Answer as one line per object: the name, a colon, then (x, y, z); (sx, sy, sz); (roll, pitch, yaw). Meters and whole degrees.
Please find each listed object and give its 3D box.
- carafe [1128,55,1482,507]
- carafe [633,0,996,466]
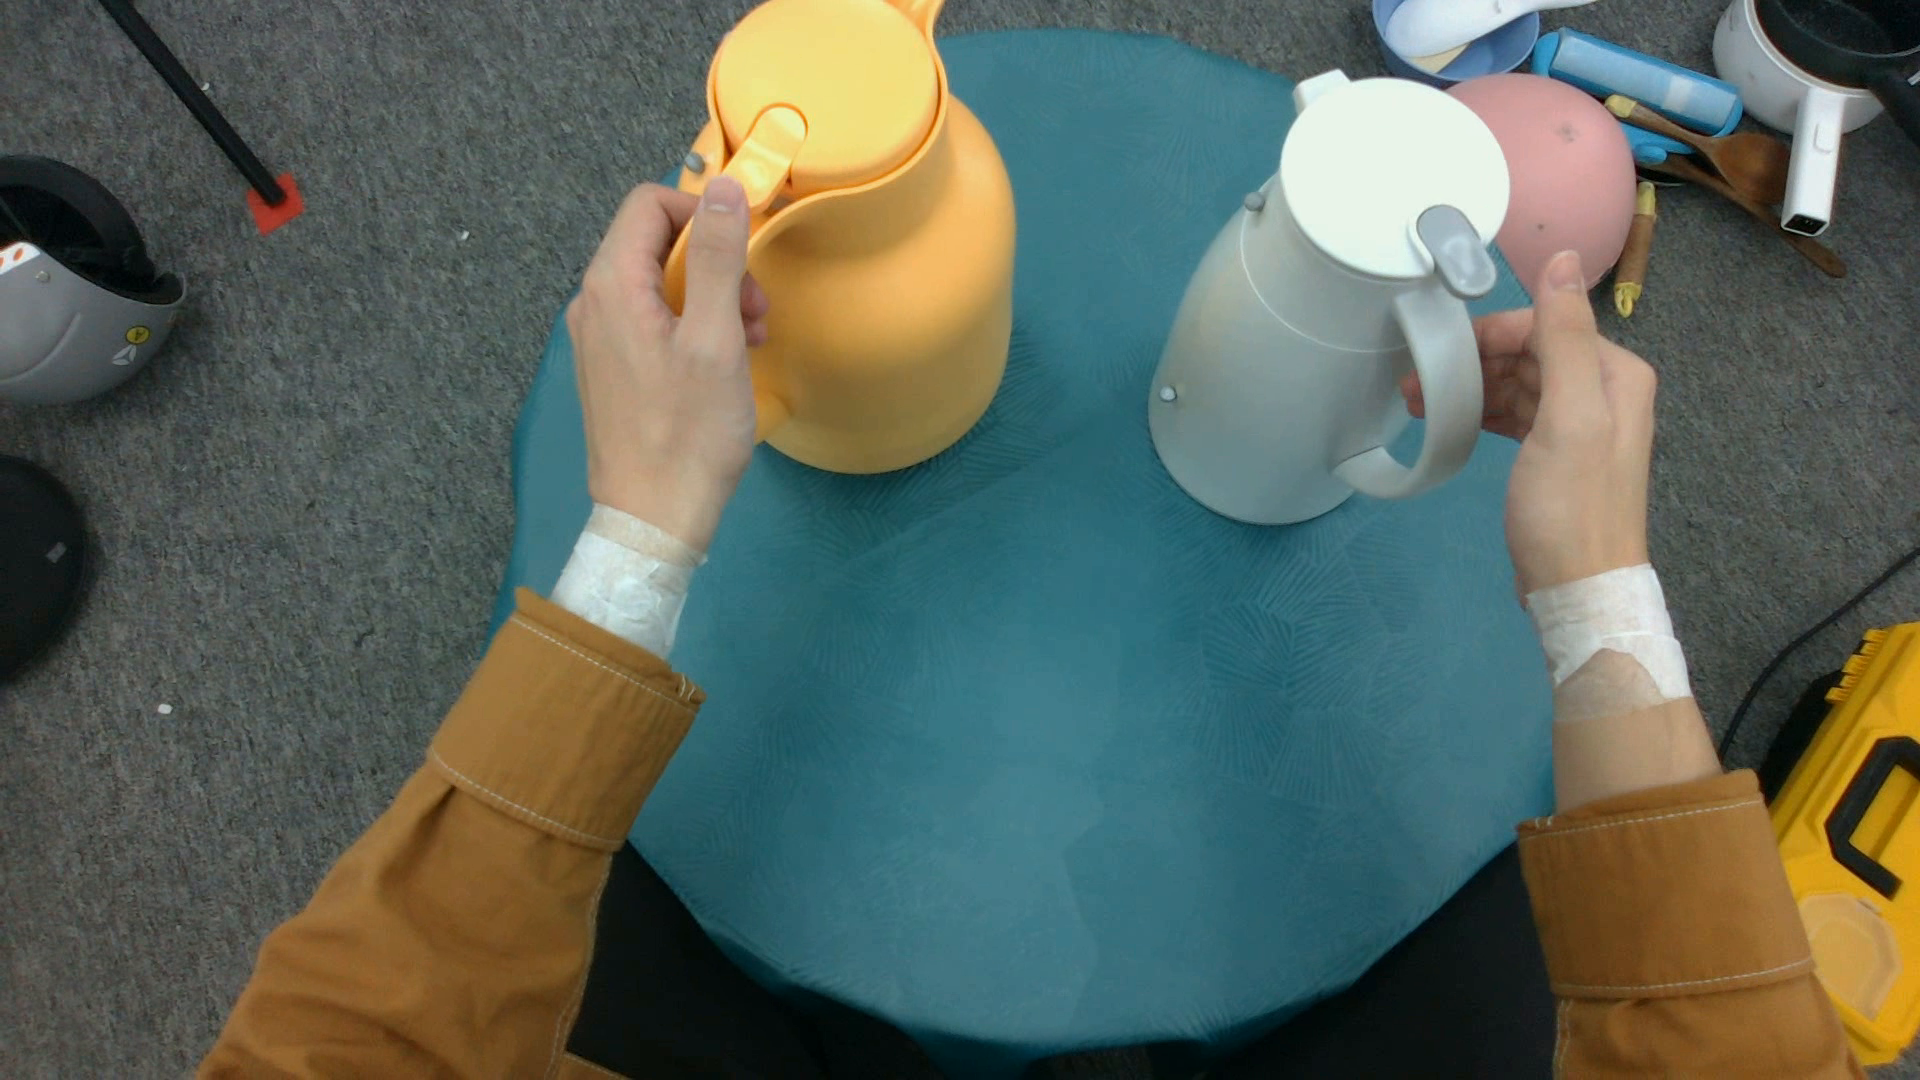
carafe: (0.171, -0.102, 0.659); (0.132, 0.248, 0.168); (-21, 74, -8)
carafe: (-0.075, -0.135, 0.657); (0.163, 0.259, 0.203); (31, 72, 10)
